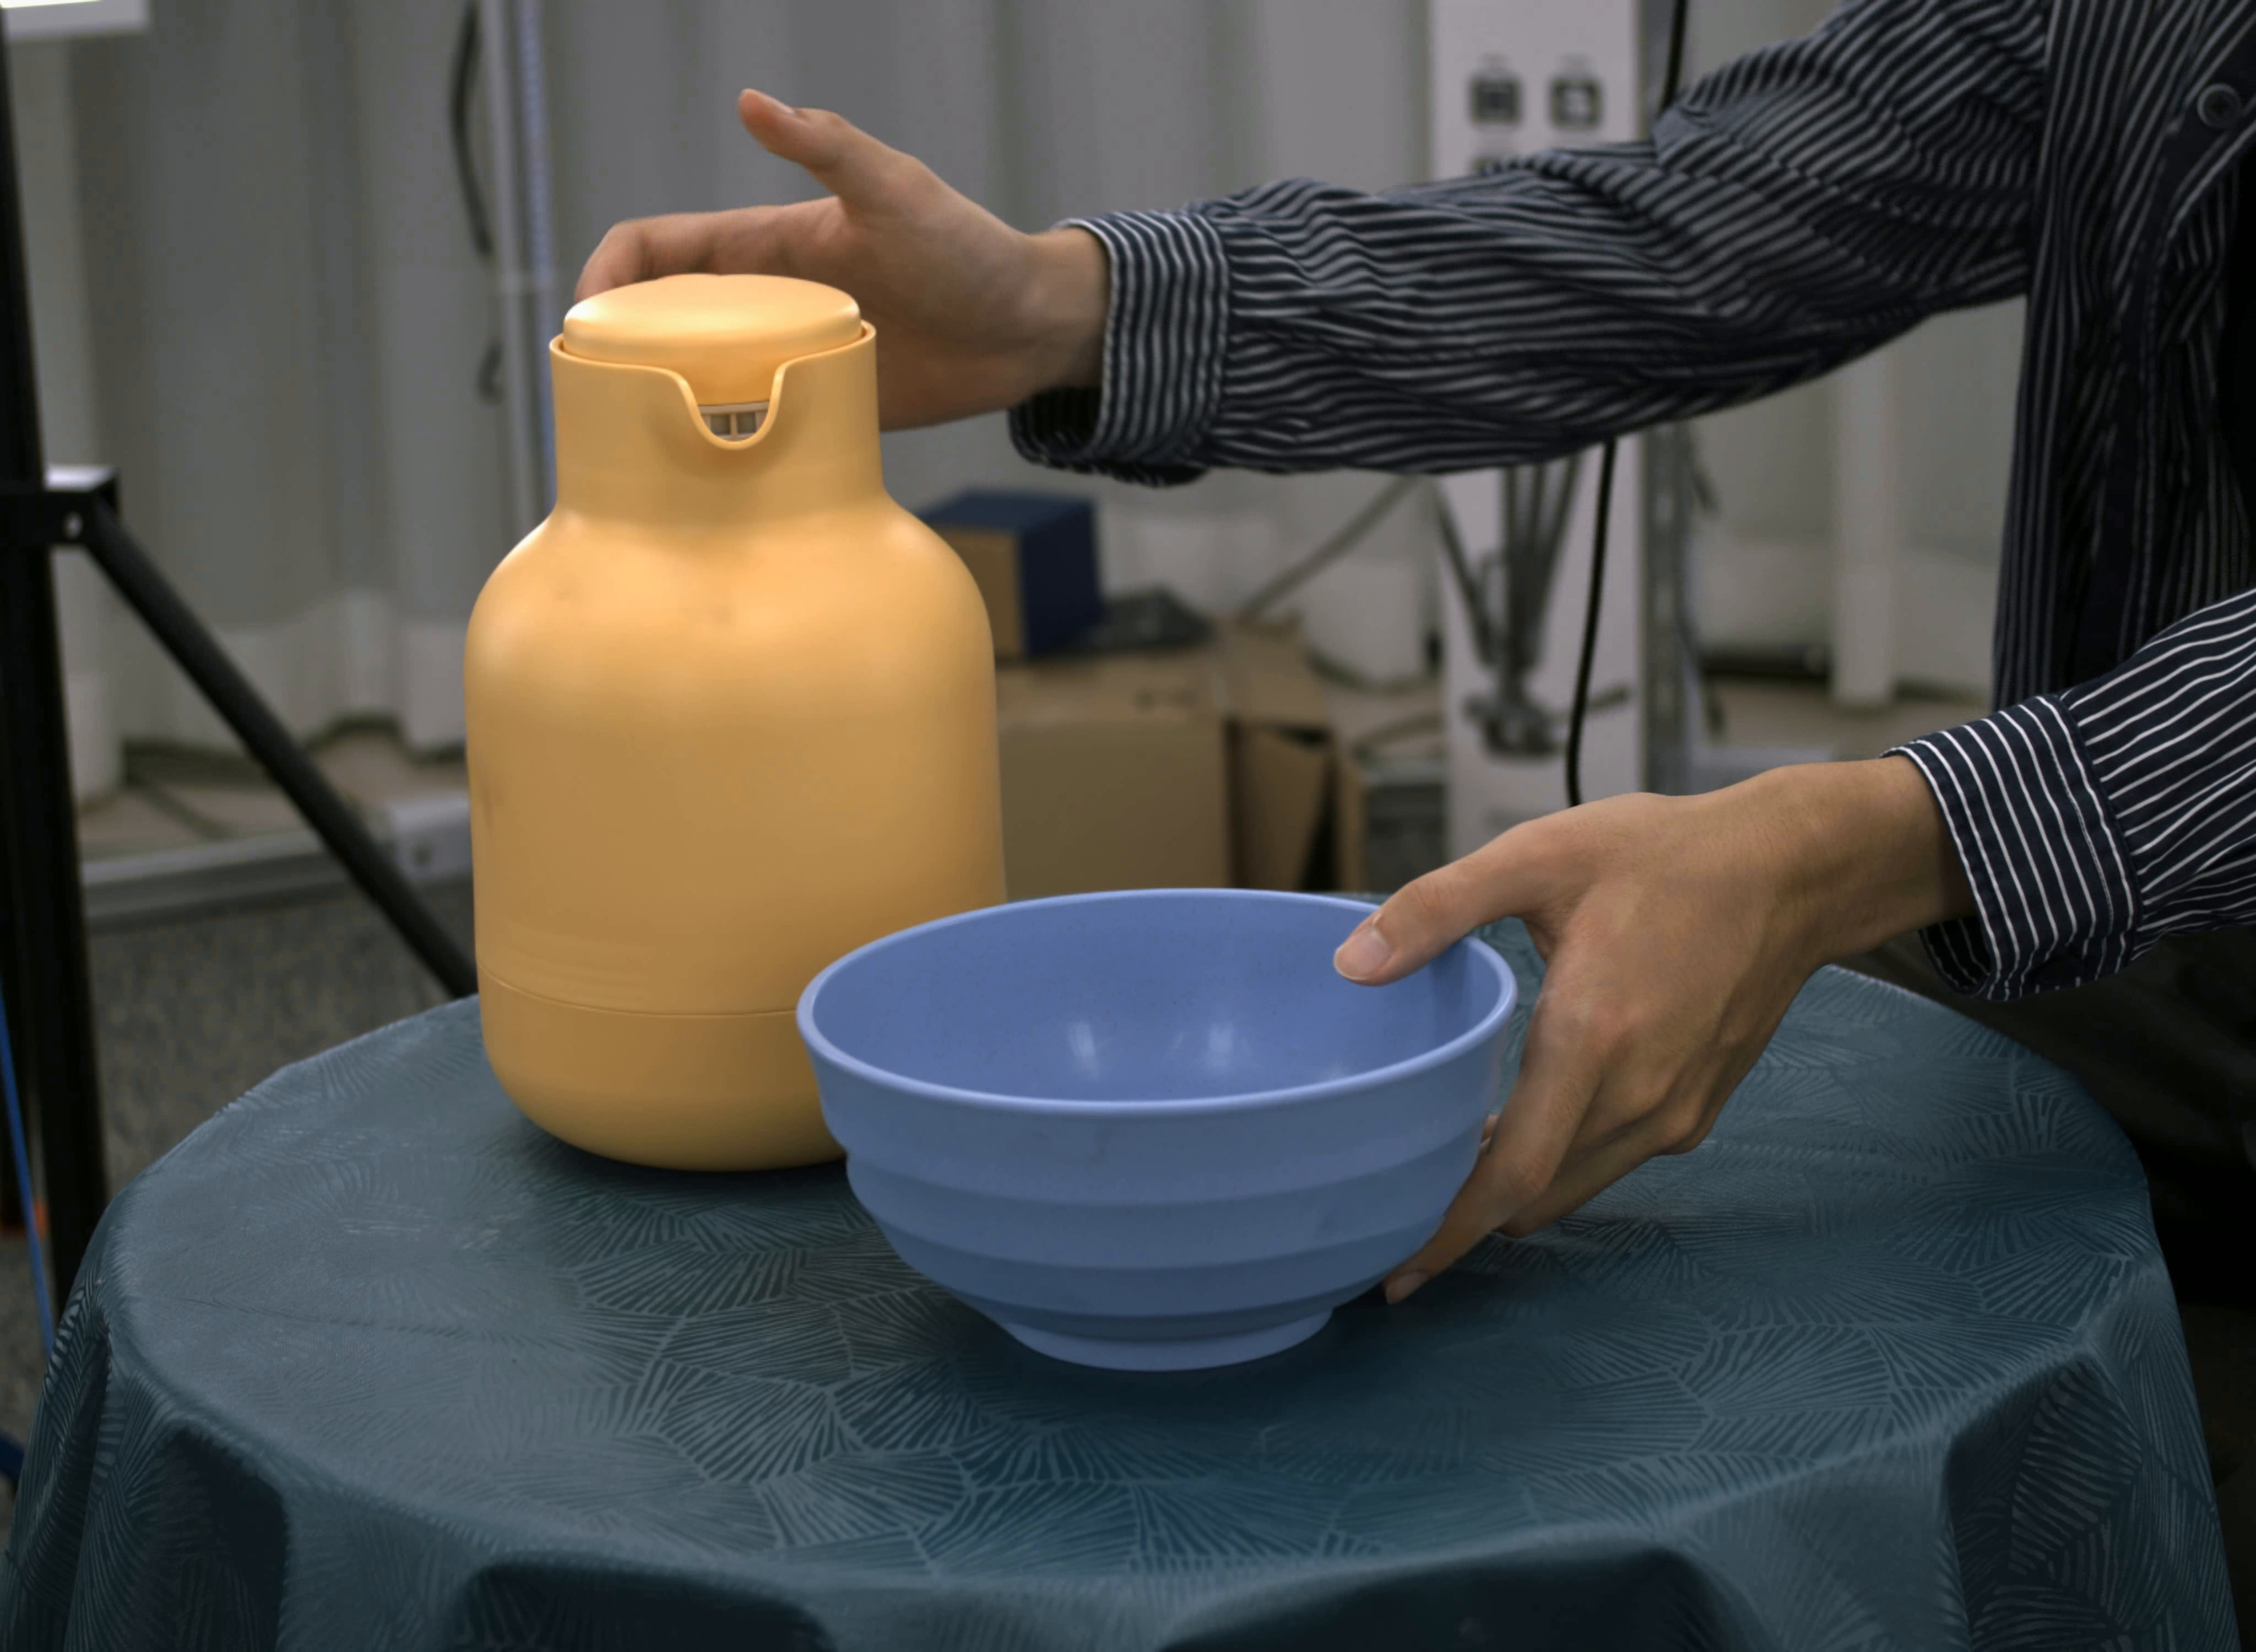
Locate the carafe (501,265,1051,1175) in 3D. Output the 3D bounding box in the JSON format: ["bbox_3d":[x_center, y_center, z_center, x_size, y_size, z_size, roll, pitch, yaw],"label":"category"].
[{"bbox_3d":[-0.109,-0.040,1.624,0.162,0.260,0.204,-4,15,-8],"label":"carafe"}]

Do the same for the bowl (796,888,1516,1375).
[{"bbox_3d":[0.009,0.090,1.455,0.195,0.095,0.197,-3,16,-1],"label":"bowl"}]
